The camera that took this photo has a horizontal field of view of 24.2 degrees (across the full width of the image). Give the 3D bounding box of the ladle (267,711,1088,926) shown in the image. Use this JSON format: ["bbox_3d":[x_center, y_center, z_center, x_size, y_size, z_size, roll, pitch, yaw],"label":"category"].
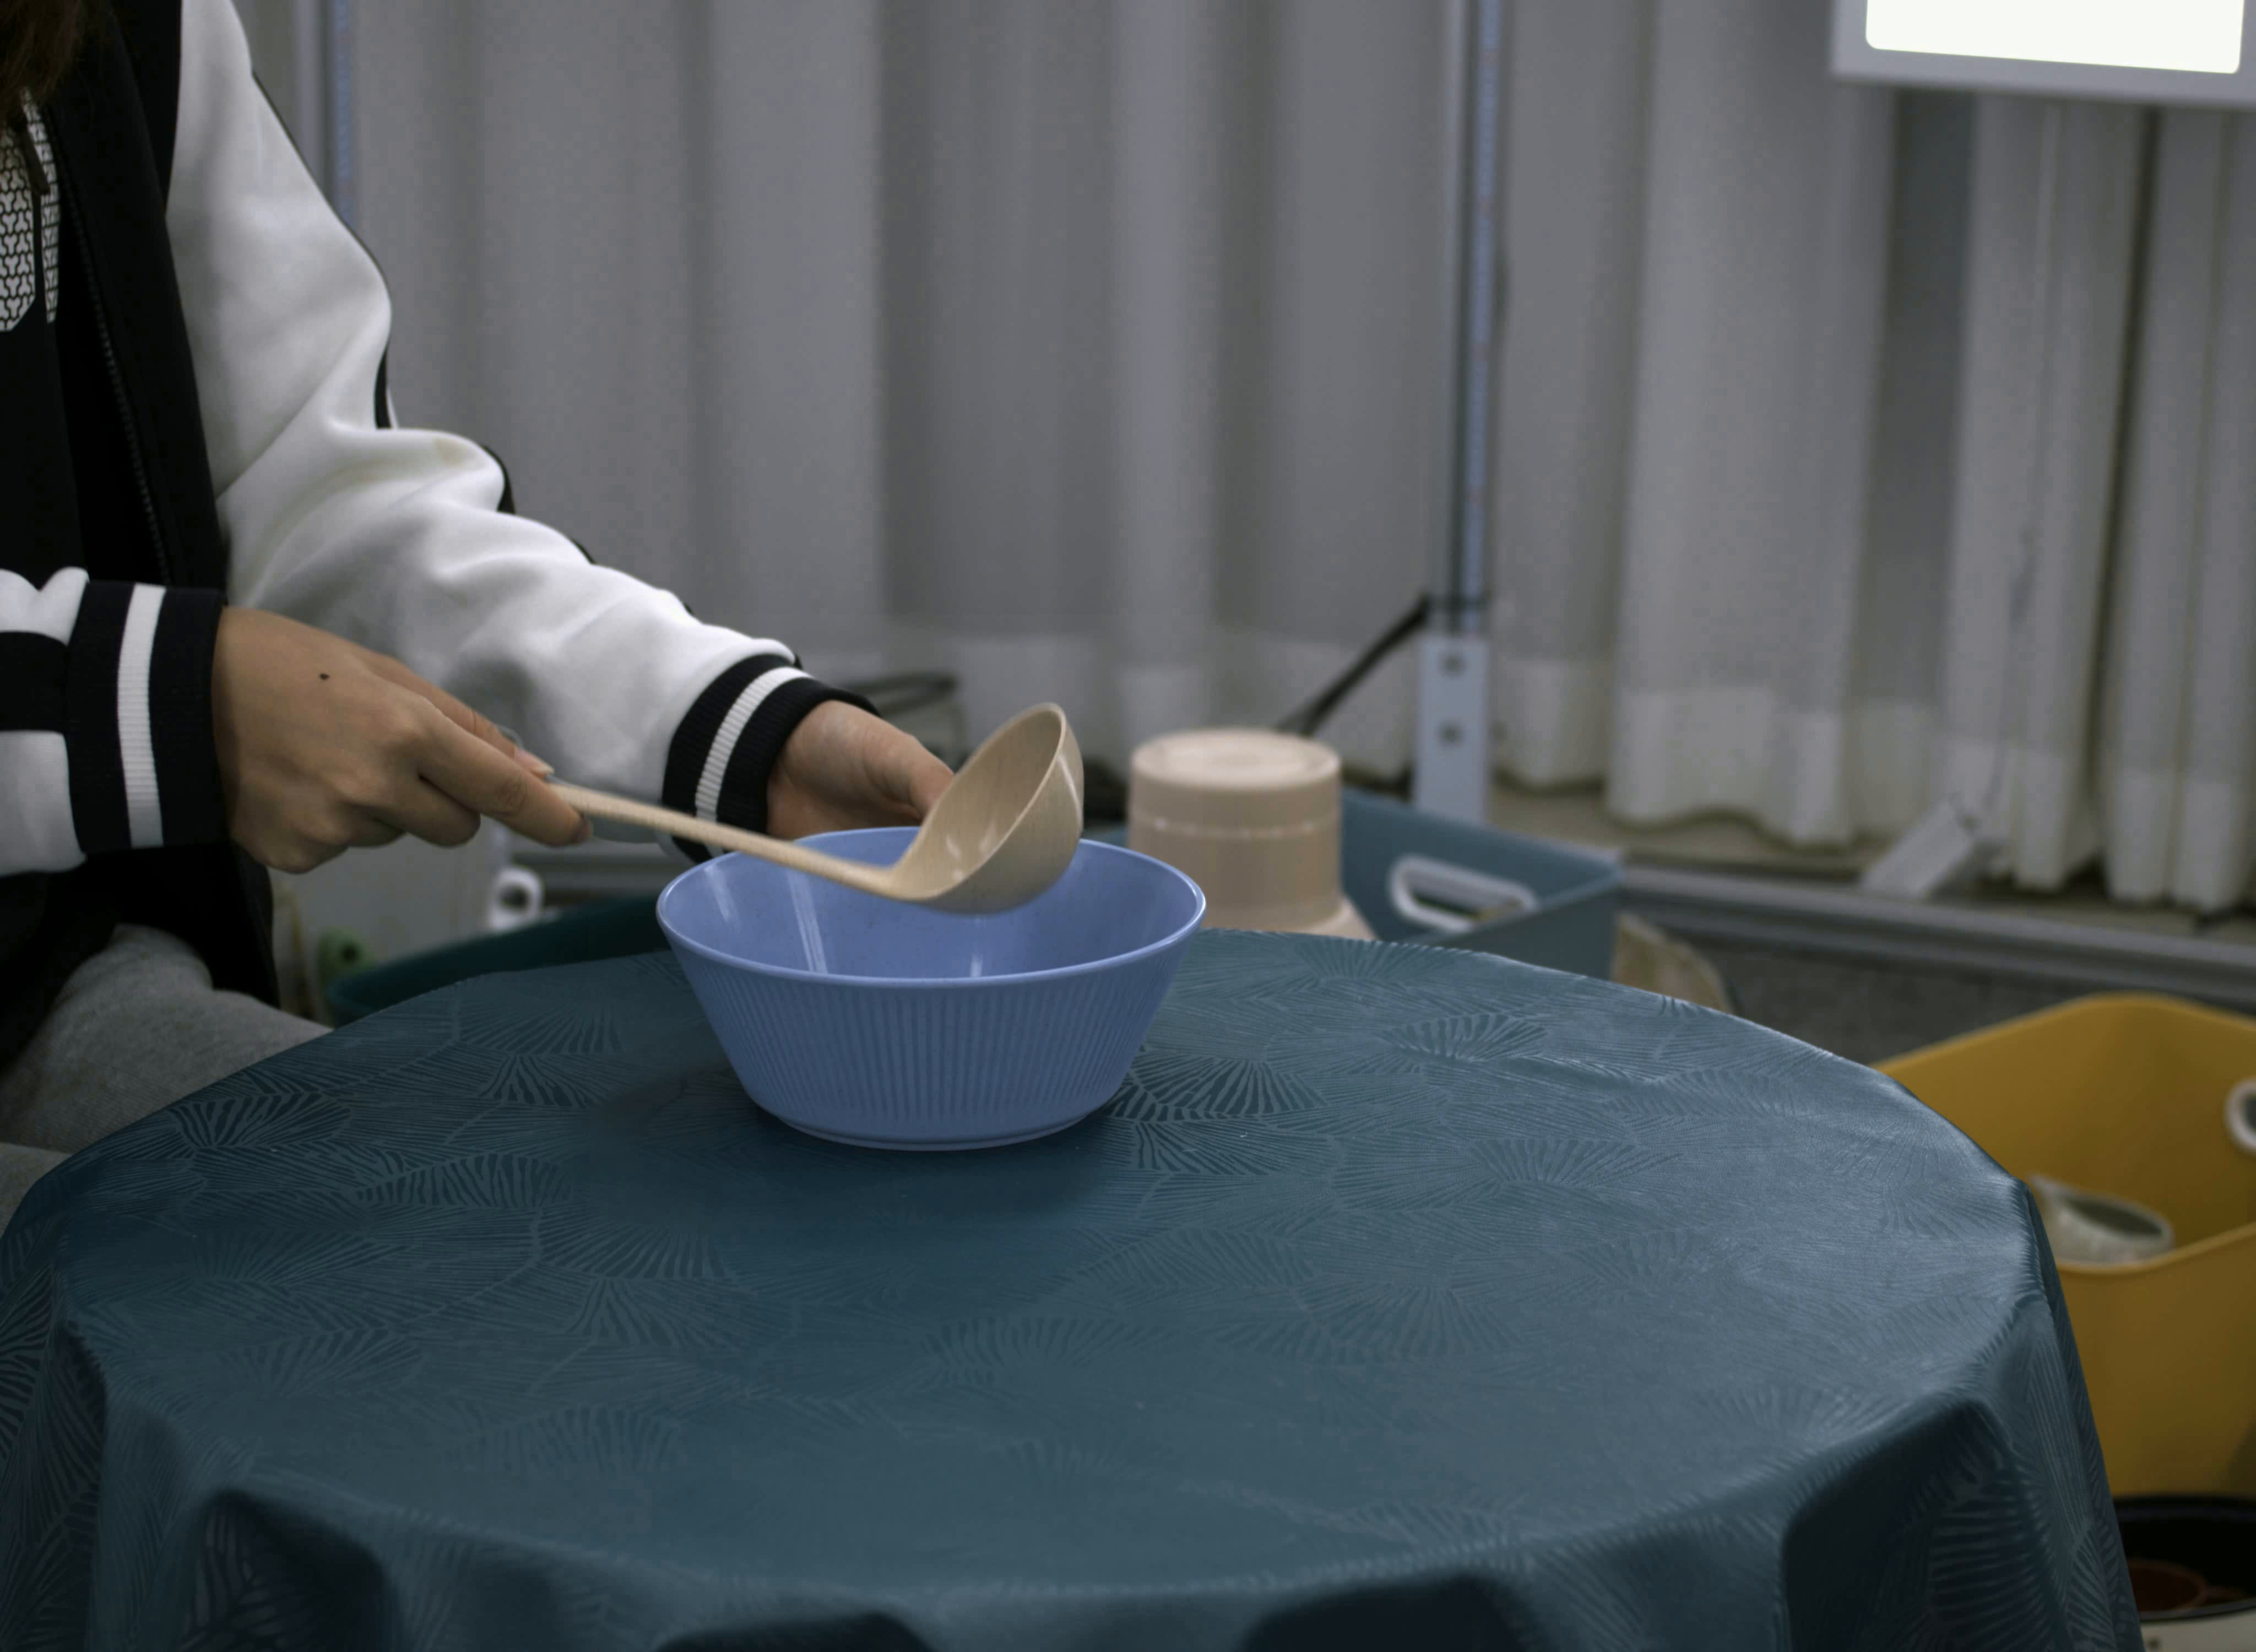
[{"bbox_3d":[-0.136,-0.022,1.643,0.255,0.073,0.071,12,15,-19],"label":"ladle"}]

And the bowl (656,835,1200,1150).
[{"bbox_3d":[-0.064,0.055,1.694,0.175,0.071,0.175,1,15,0],"label":"bowl"}]
